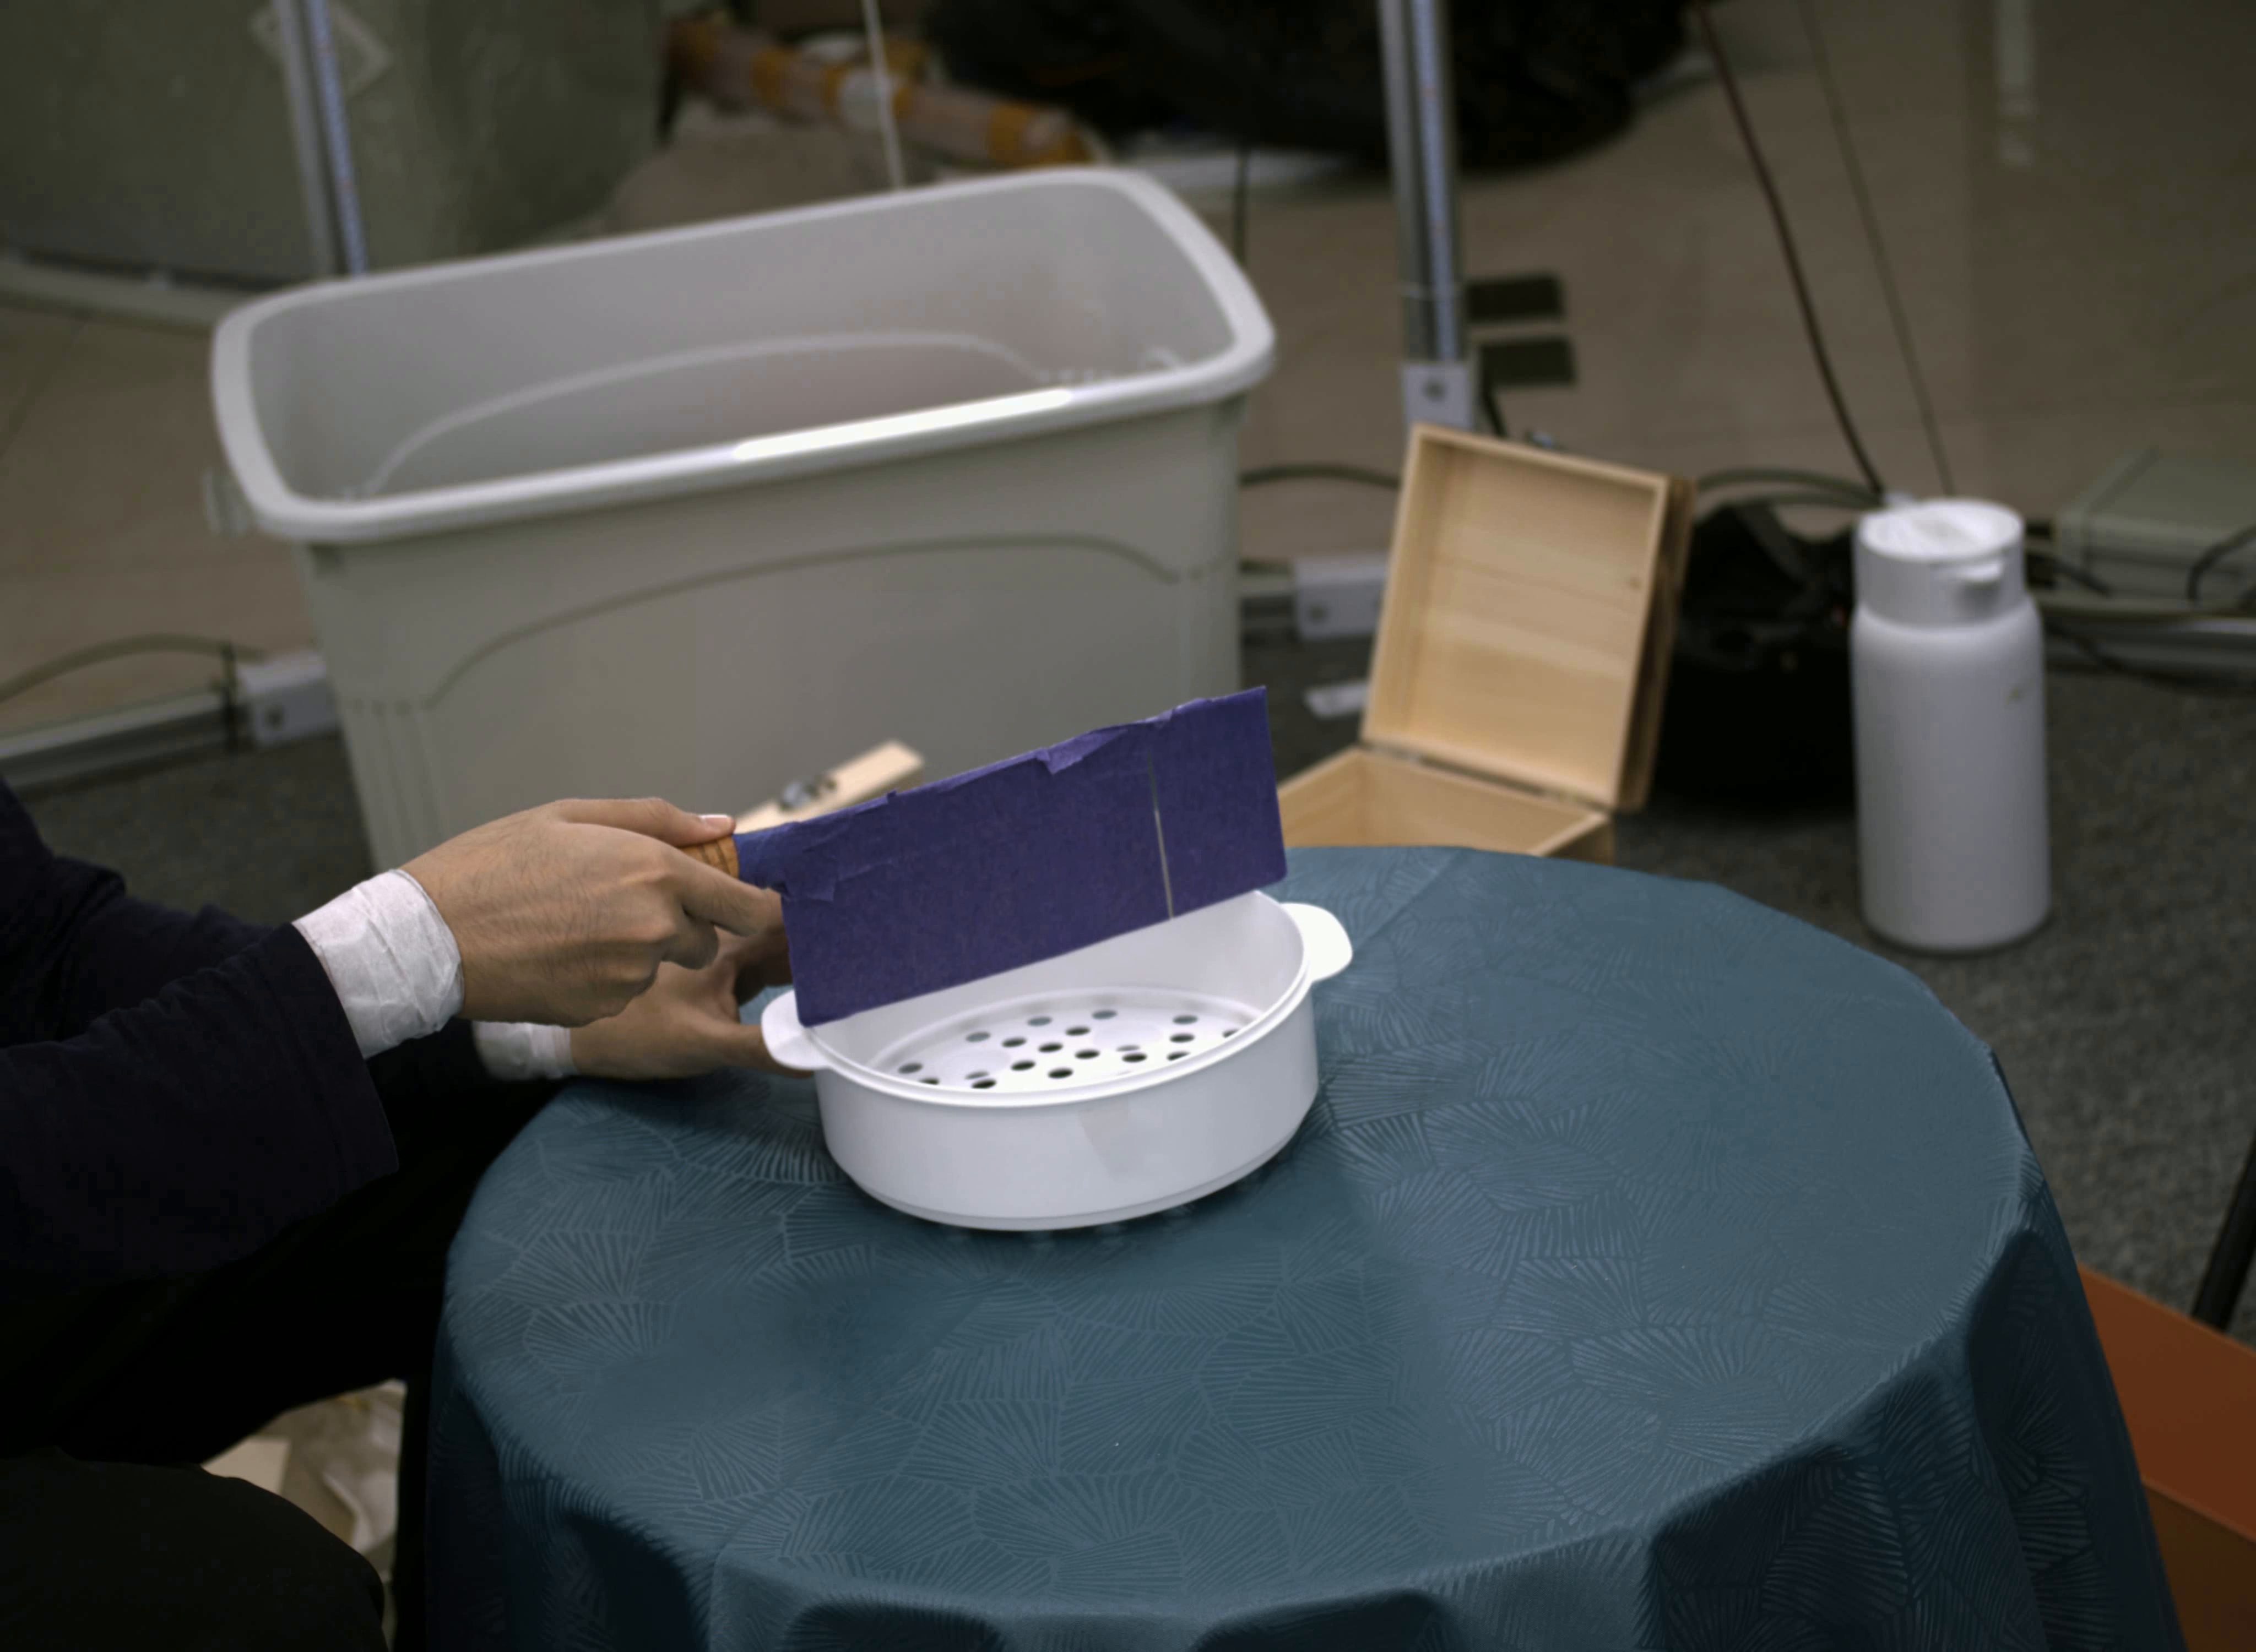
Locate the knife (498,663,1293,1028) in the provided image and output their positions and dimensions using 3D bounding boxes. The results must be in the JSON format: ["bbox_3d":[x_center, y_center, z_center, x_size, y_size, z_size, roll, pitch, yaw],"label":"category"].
[{"bbox_3d":[-0.081,0.026,2.147,0.314,0.106,0.032,-17,31,-15],"label":"knife"}]

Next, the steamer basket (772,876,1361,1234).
[{"bbox_3d":[-0.019,0.087,2.190,0.230,0.070,0.199,-12,24,-5],"label":"steamer basket"}]
